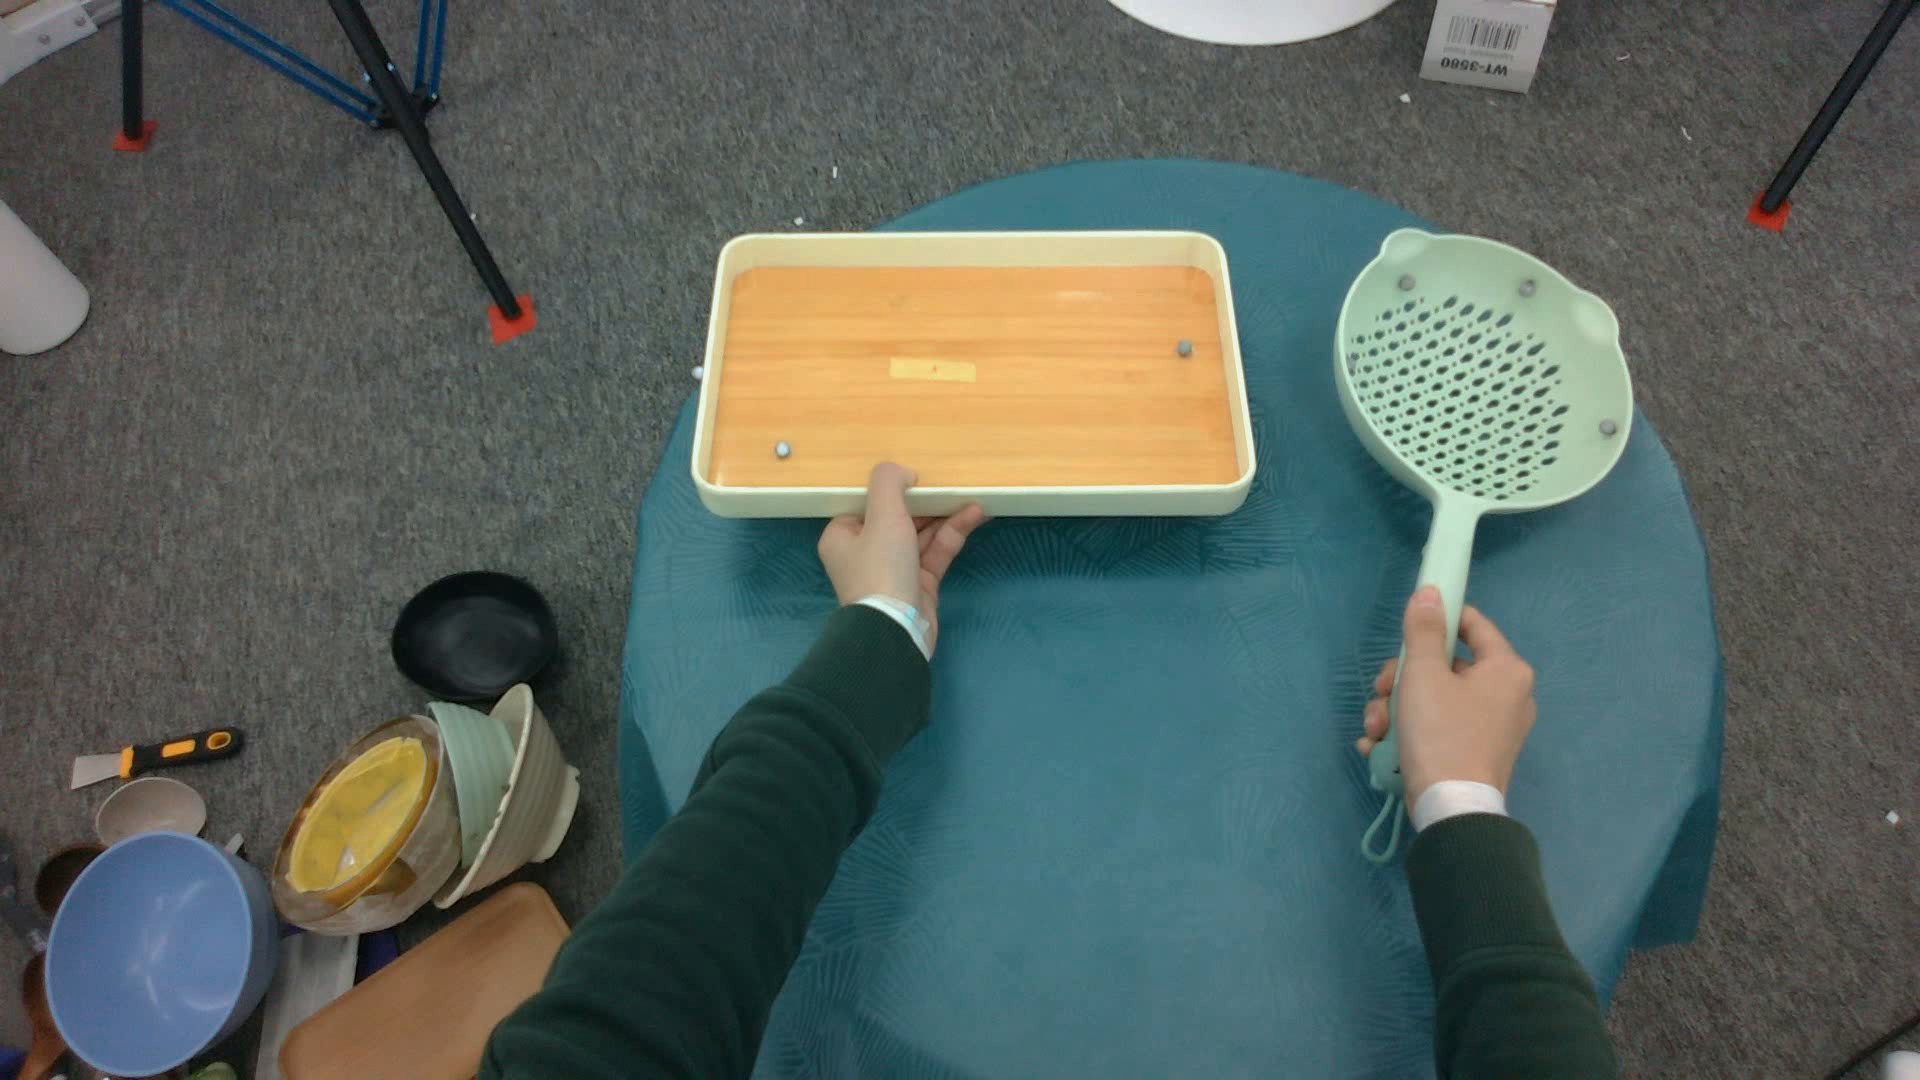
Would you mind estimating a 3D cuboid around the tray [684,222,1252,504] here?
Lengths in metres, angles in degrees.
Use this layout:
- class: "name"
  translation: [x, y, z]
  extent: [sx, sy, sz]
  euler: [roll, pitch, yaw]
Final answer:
- class: "tray"
  translation: [0.004, -0.103, 0.777]
  extent: [0.300, 0.027, 0.192]
  euler: [0, 56, 0]

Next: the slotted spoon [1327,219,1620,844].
- class: "slotted spoon"
  translation: [0.252, -0.015, 0.724]
  extent: [0.169, 0.075, 0.360]
  euler: [20, 56, 0]
